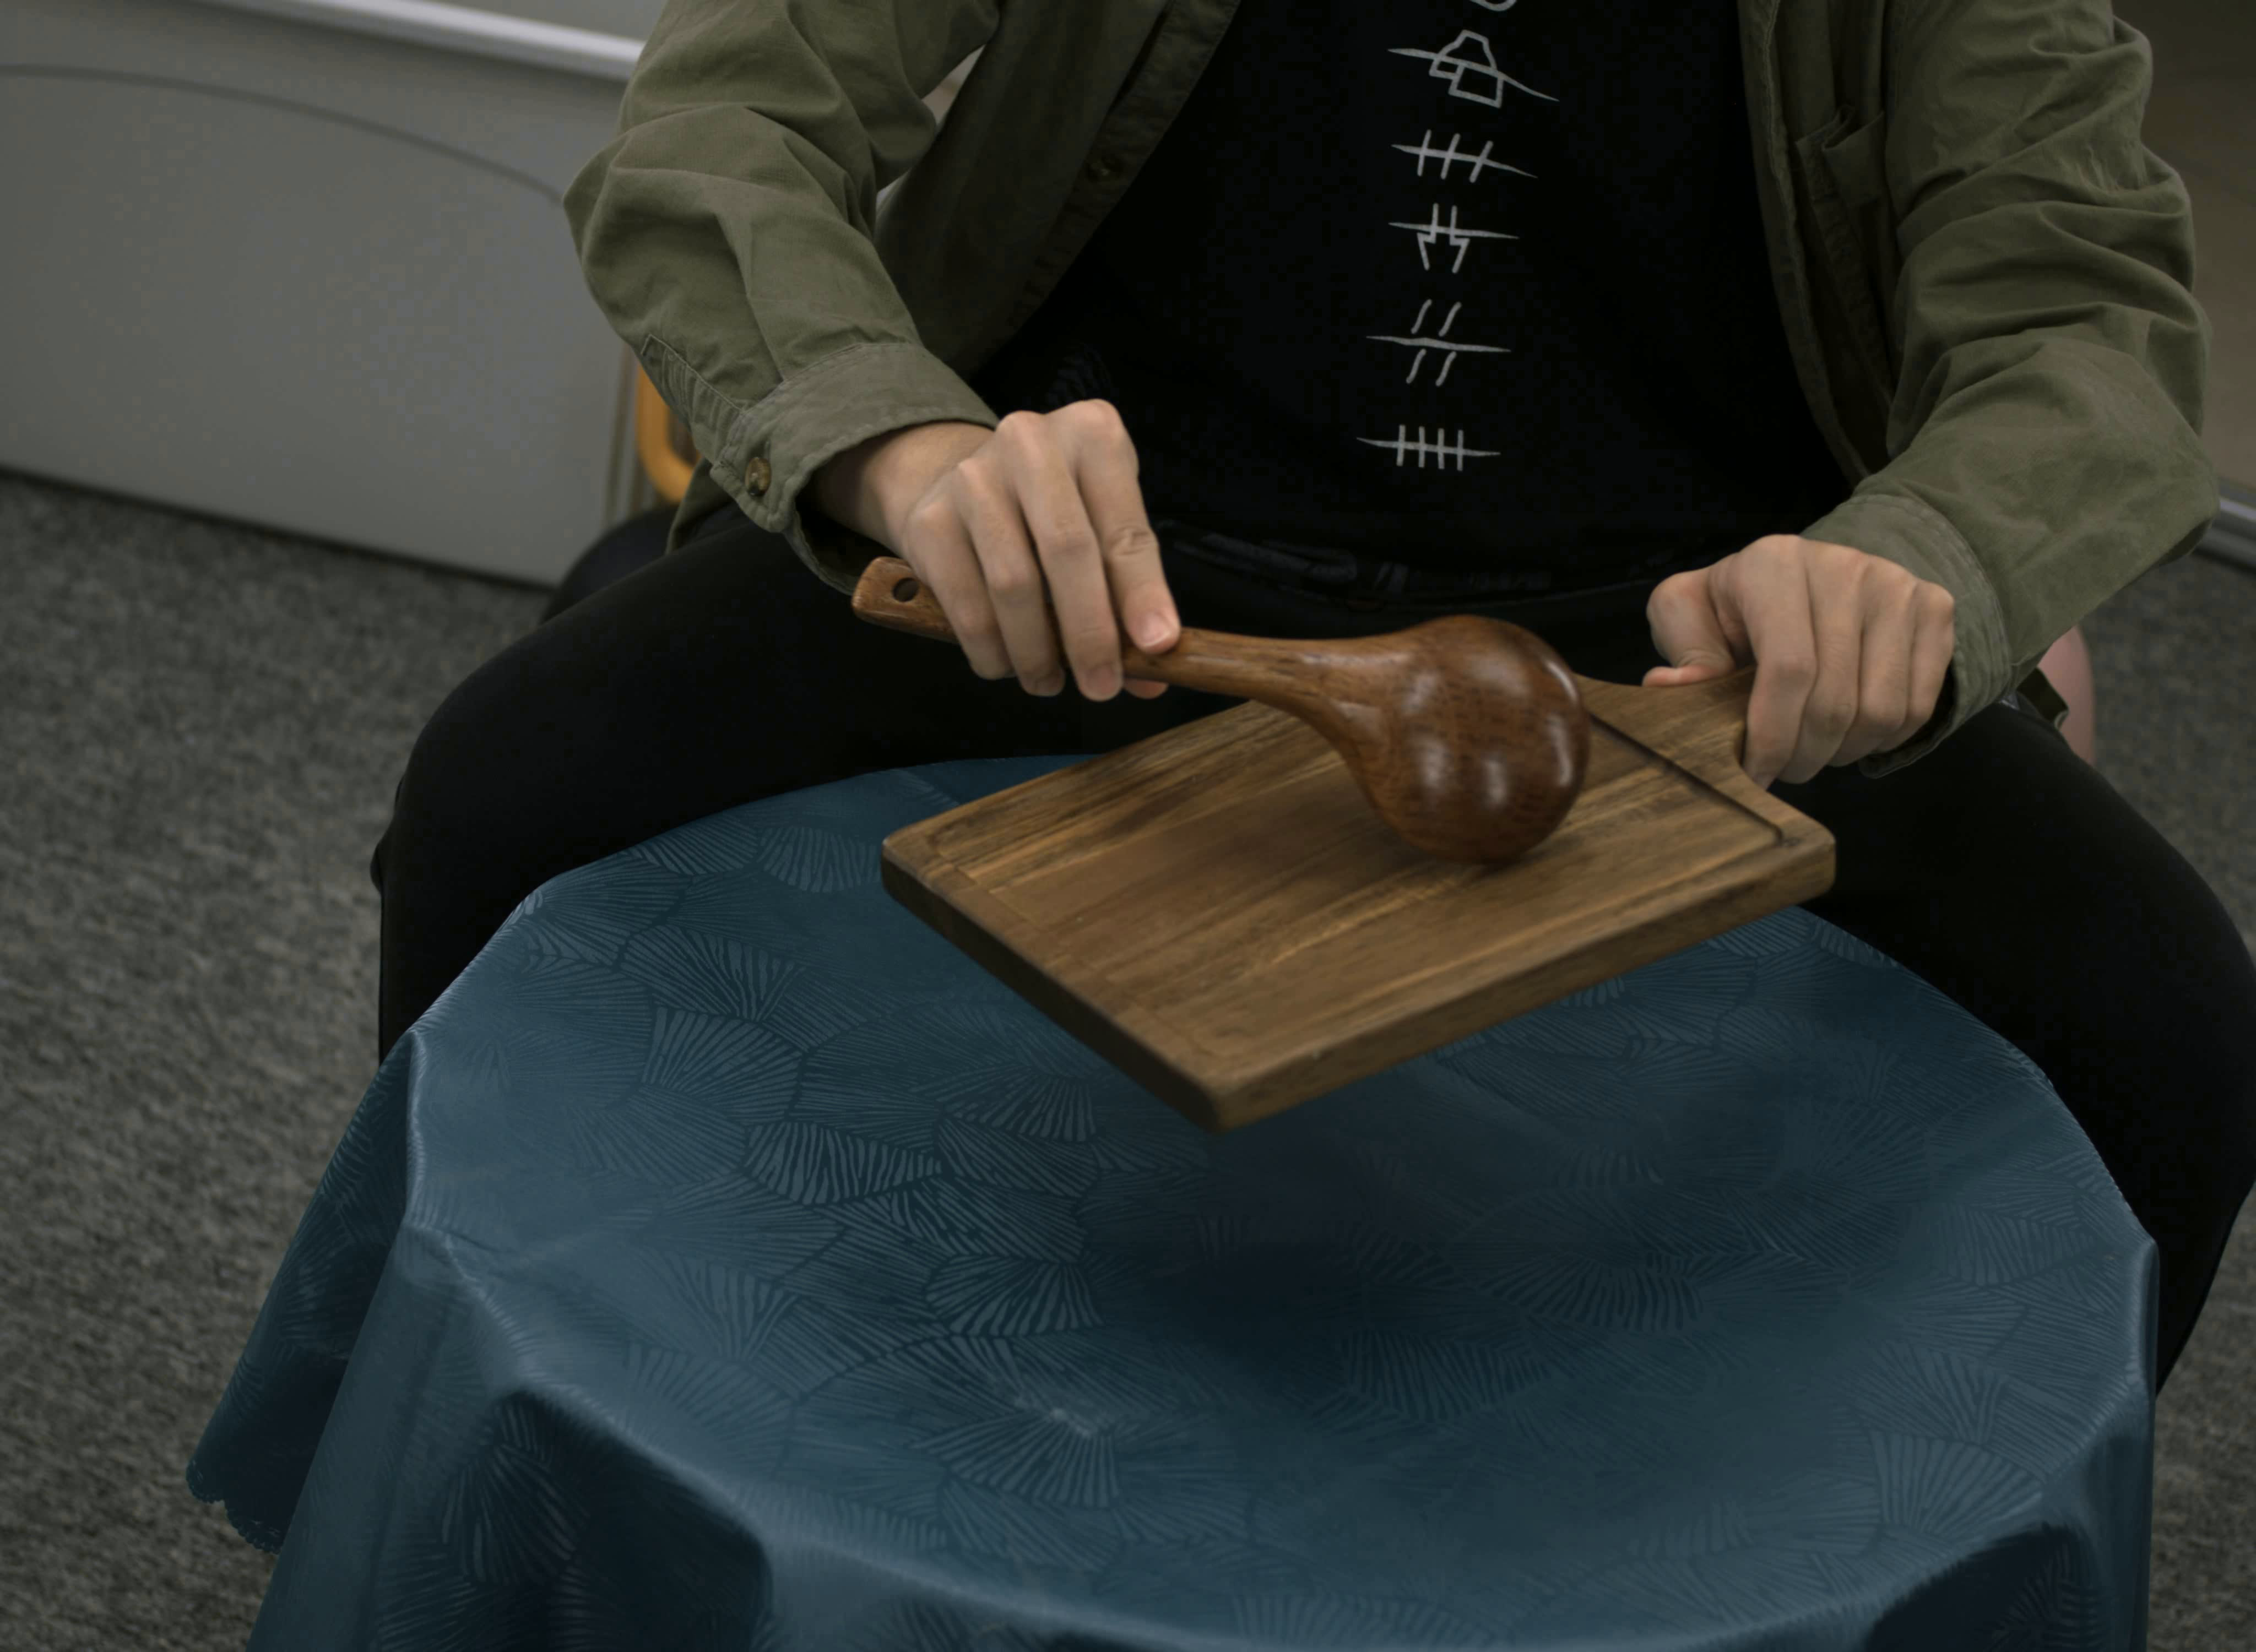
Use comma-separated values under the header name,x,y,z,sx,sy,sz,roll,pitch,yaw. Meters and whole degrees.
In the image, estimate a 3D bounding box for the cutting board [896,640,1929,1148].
name,x,y,z,sx,sy,sz,roll,pitch,yaw
cutting board,0.120,0.001,1.732,0.350,0.023,0.203,-19,33,-26

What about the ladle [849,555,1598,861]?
name,x,y,z,sx,sy,sz,roll,pitch,yaw
ladle,0.031,-0.049,1.770,0.275,0.076,0.082,12,67,38
